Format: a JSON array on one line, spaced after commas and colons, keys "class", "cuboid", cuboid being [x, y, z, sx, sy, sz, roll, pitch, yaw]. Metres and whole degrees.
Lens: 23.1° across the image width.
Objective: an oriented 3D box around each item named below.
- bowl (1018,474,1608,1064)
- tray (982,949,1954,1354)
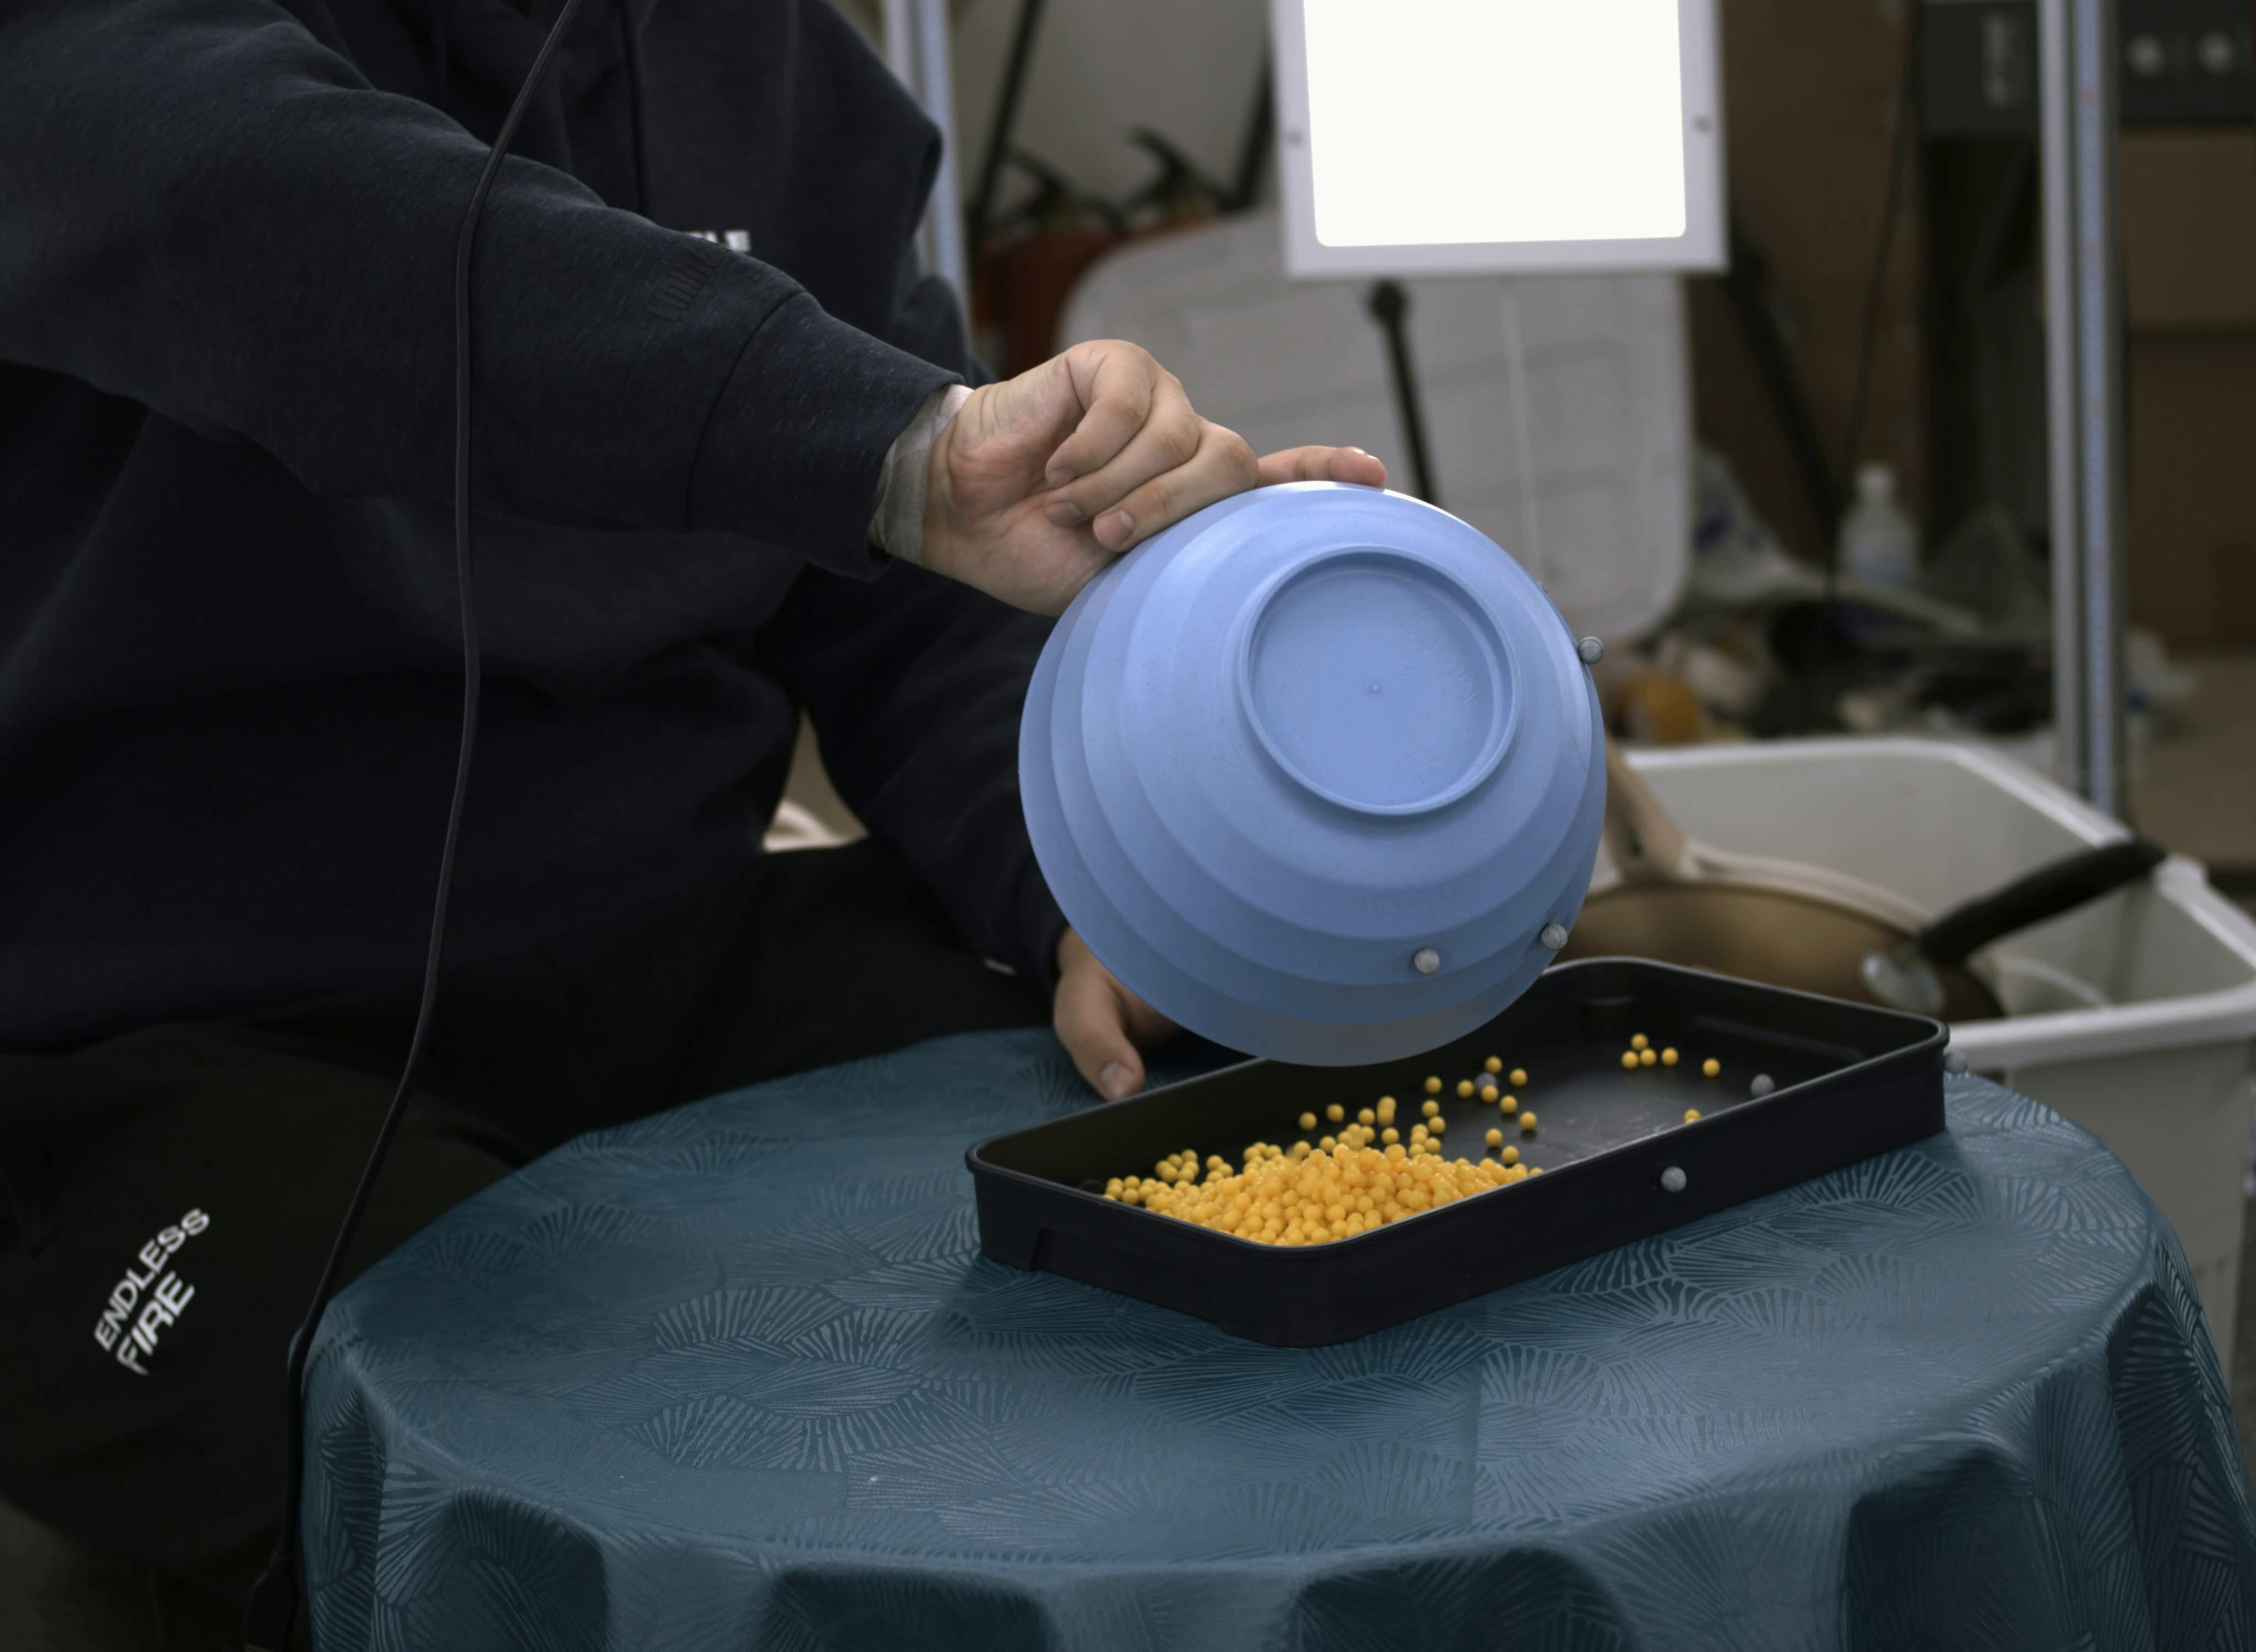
[{"class": "bowl", "cuboid": [0.069, -0.032, 1.752, 0.194, 0.197, 0.096, -8, -17, -12]}, {"class": "tray", "cuboid": [0.121, 0.105, 1.873, 0.310, 0.037, 0.188, -17, 17, -37]}]
